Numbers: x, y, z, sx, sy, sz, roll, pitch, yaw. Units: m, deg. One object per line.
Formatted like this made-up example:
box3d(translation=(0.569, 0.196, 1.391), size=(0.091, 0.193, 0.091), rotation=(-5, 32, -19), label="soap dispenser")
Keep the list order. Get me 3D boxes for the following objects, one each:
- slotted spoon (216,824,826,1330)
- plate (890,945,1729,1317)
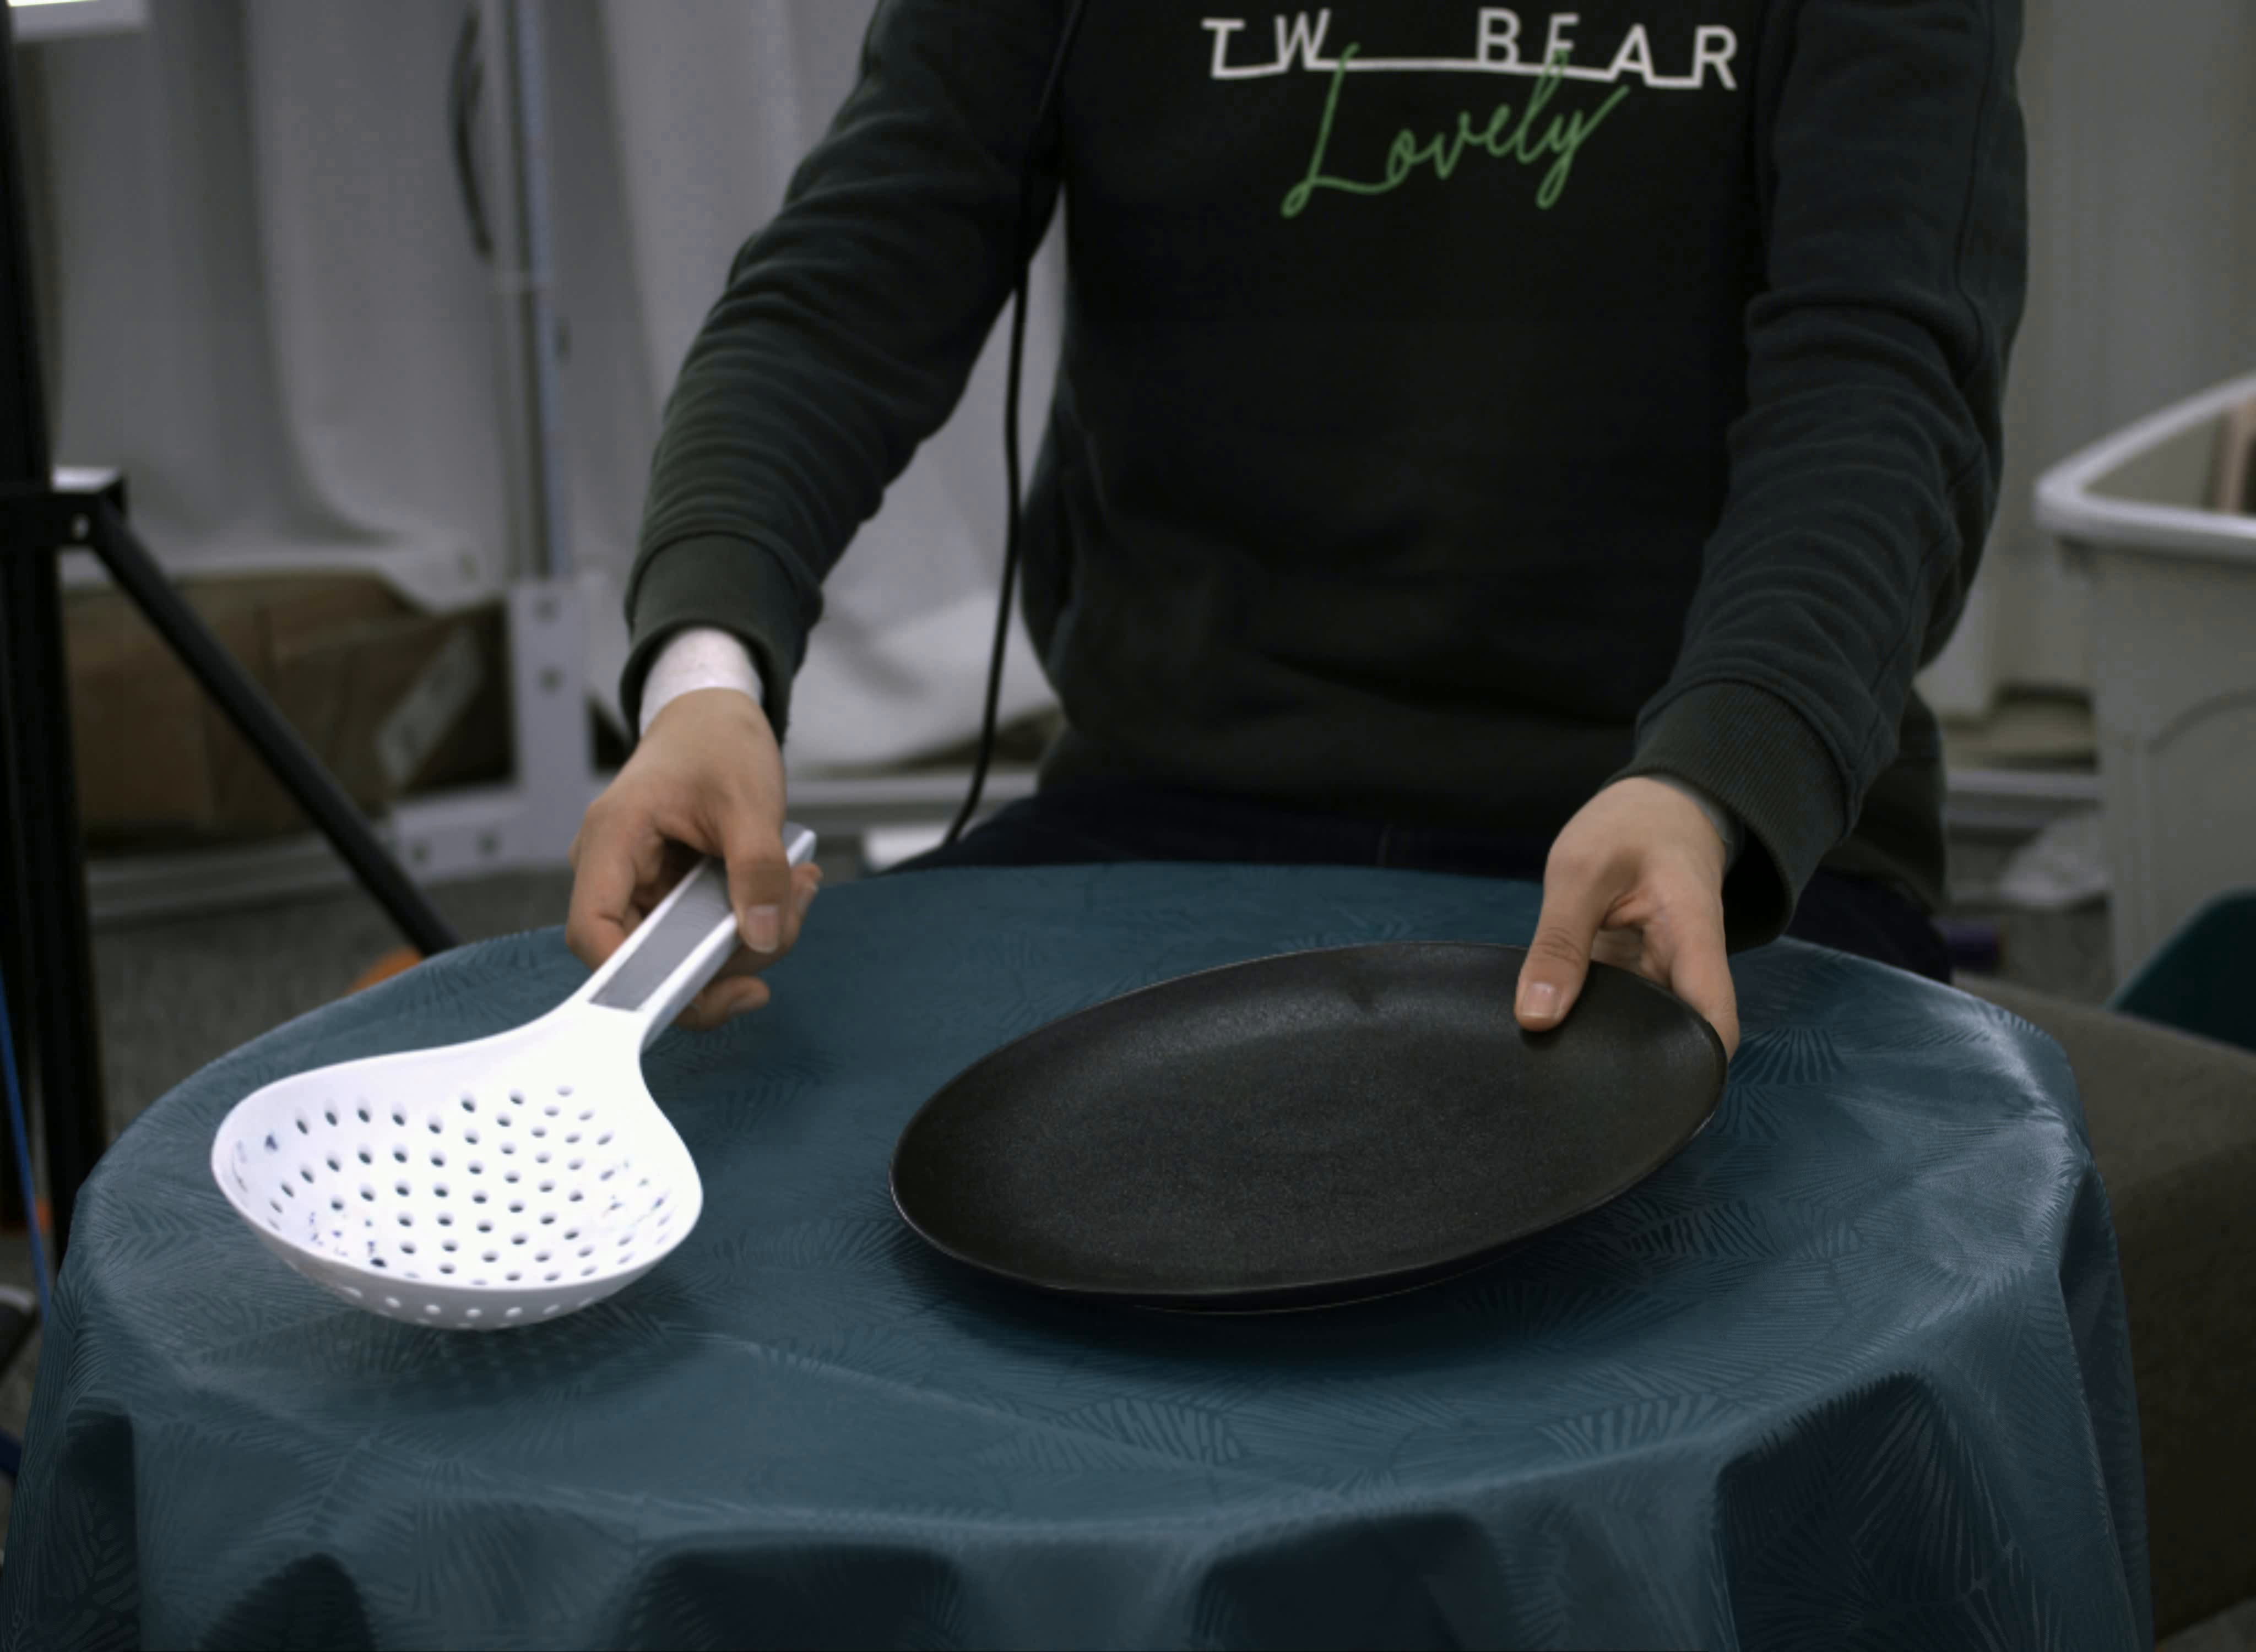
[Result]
box3d(translation=(-0.157, 0.065, 1.577), size=(0.137, 0.046, 0.347), rotation=(14, 28, 11), label="slotted spoon")
box3d(translation=(0.053, 0.090, 1.524), size=(0.243, 0.023, 0.246), rotation=(-10, 20, 2), label="plate")
